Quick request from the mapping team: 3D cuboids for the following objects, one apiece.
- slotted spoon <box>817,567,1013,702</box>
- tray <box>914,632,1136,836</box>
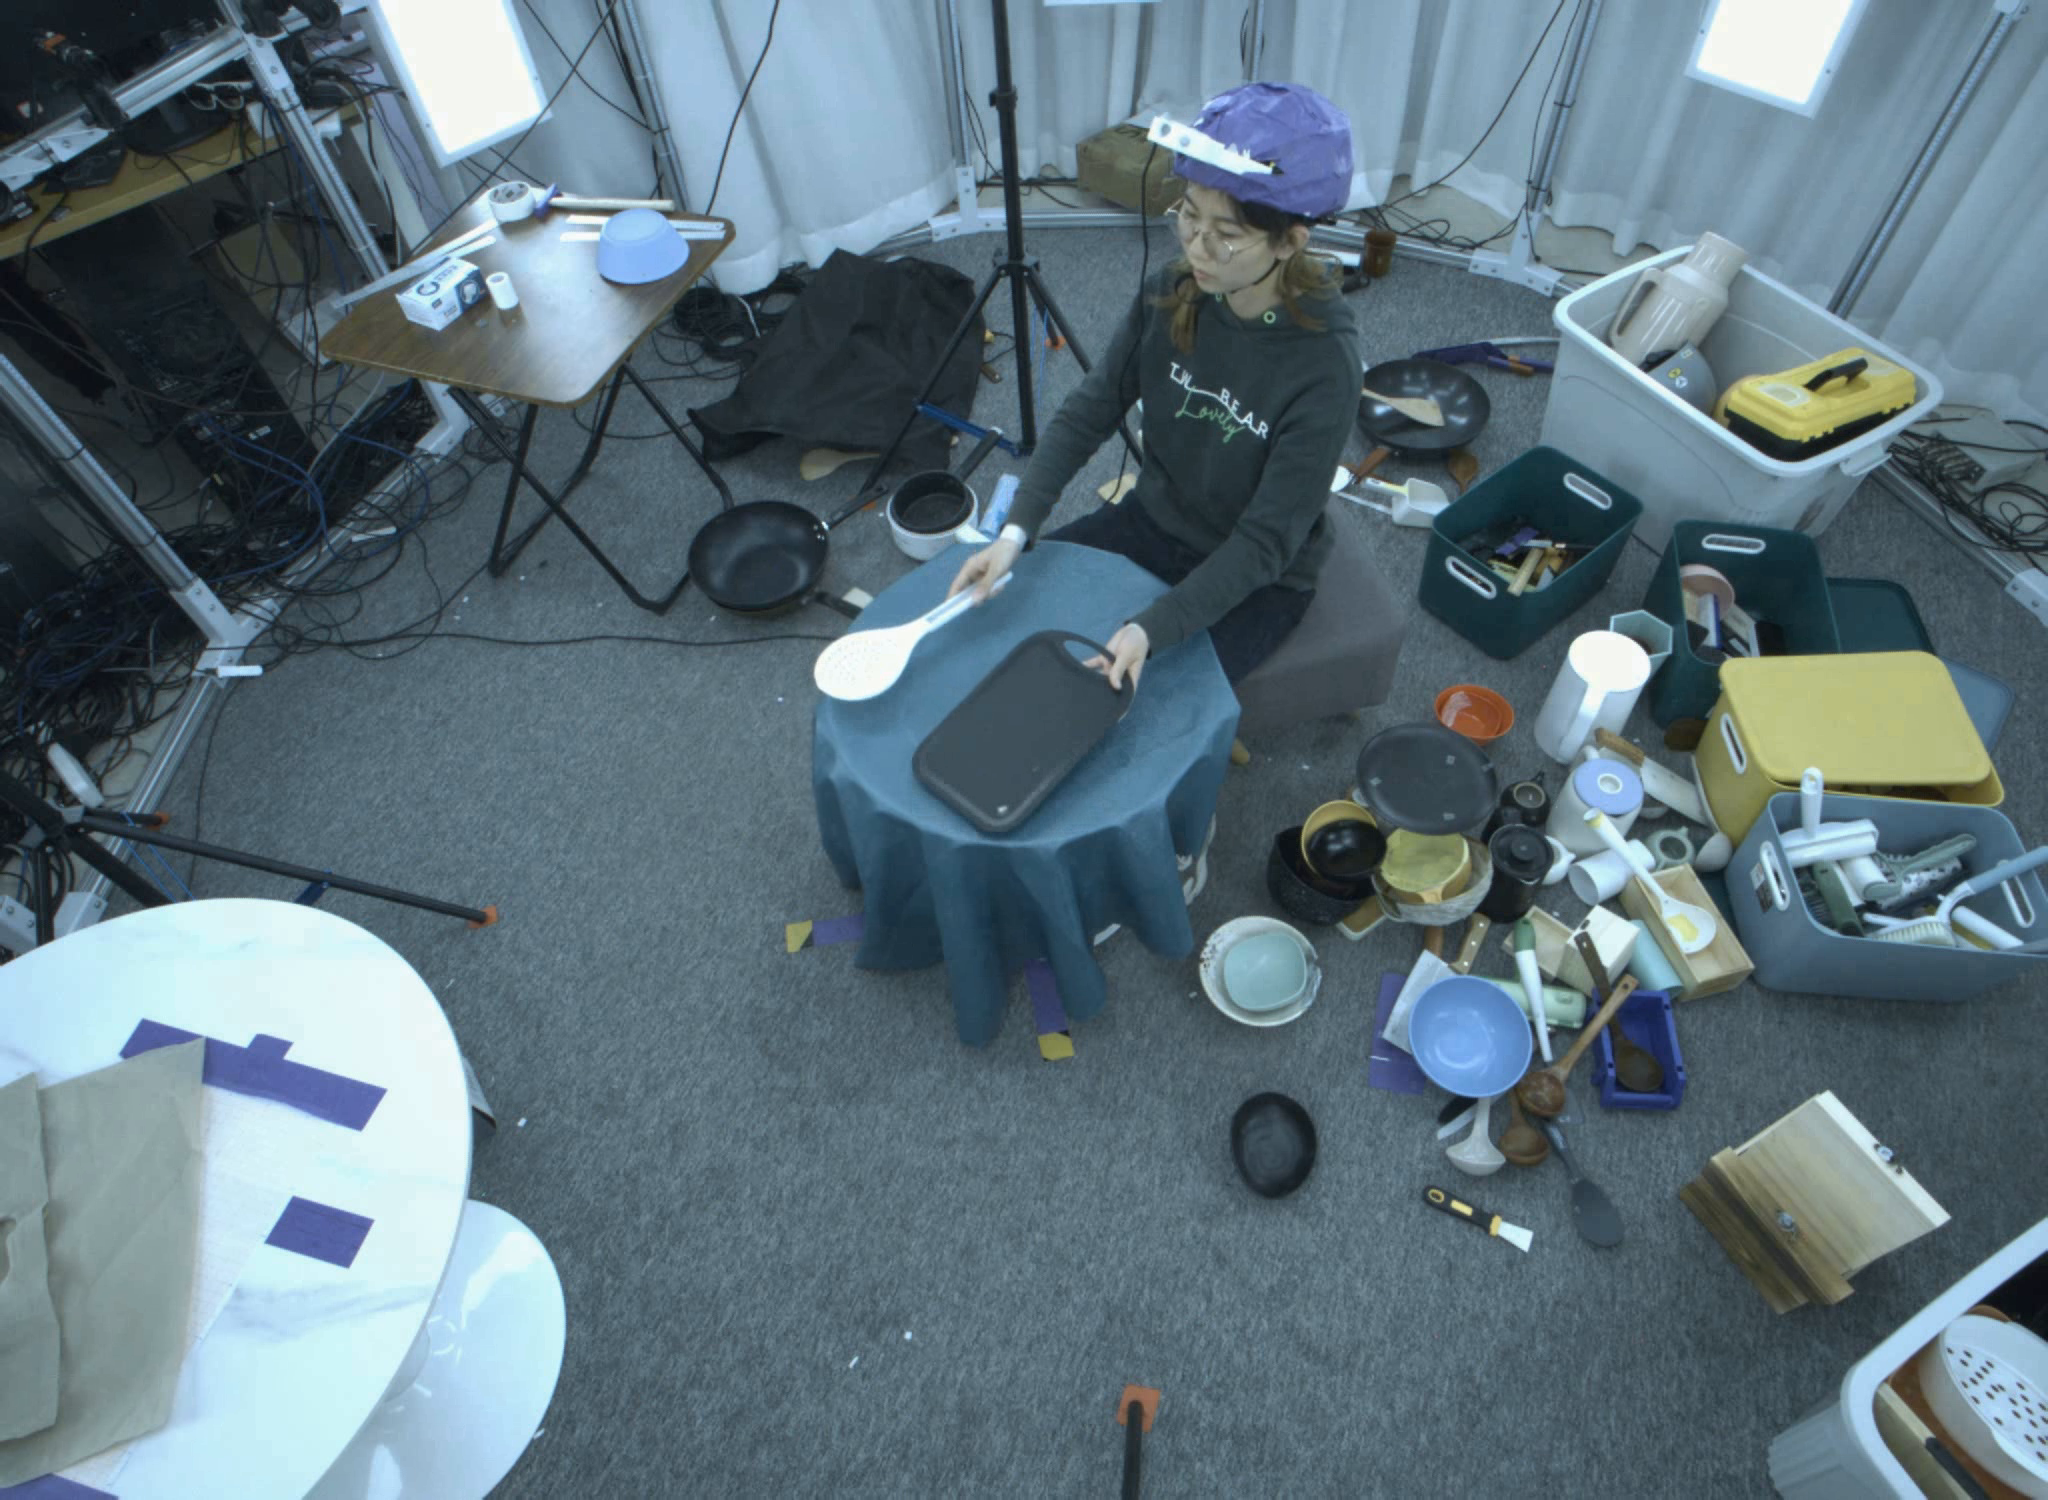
[{"bbox_3d":[-0.159,-0.181,1.858,0.351,0.046,0.133,-39,57,-15],"label":"slotted spoon"},{"bbox_3d":[0.006,-0.036,1.758,0.207,0.010,0.326,37,74,27],"label":"tray"}]
